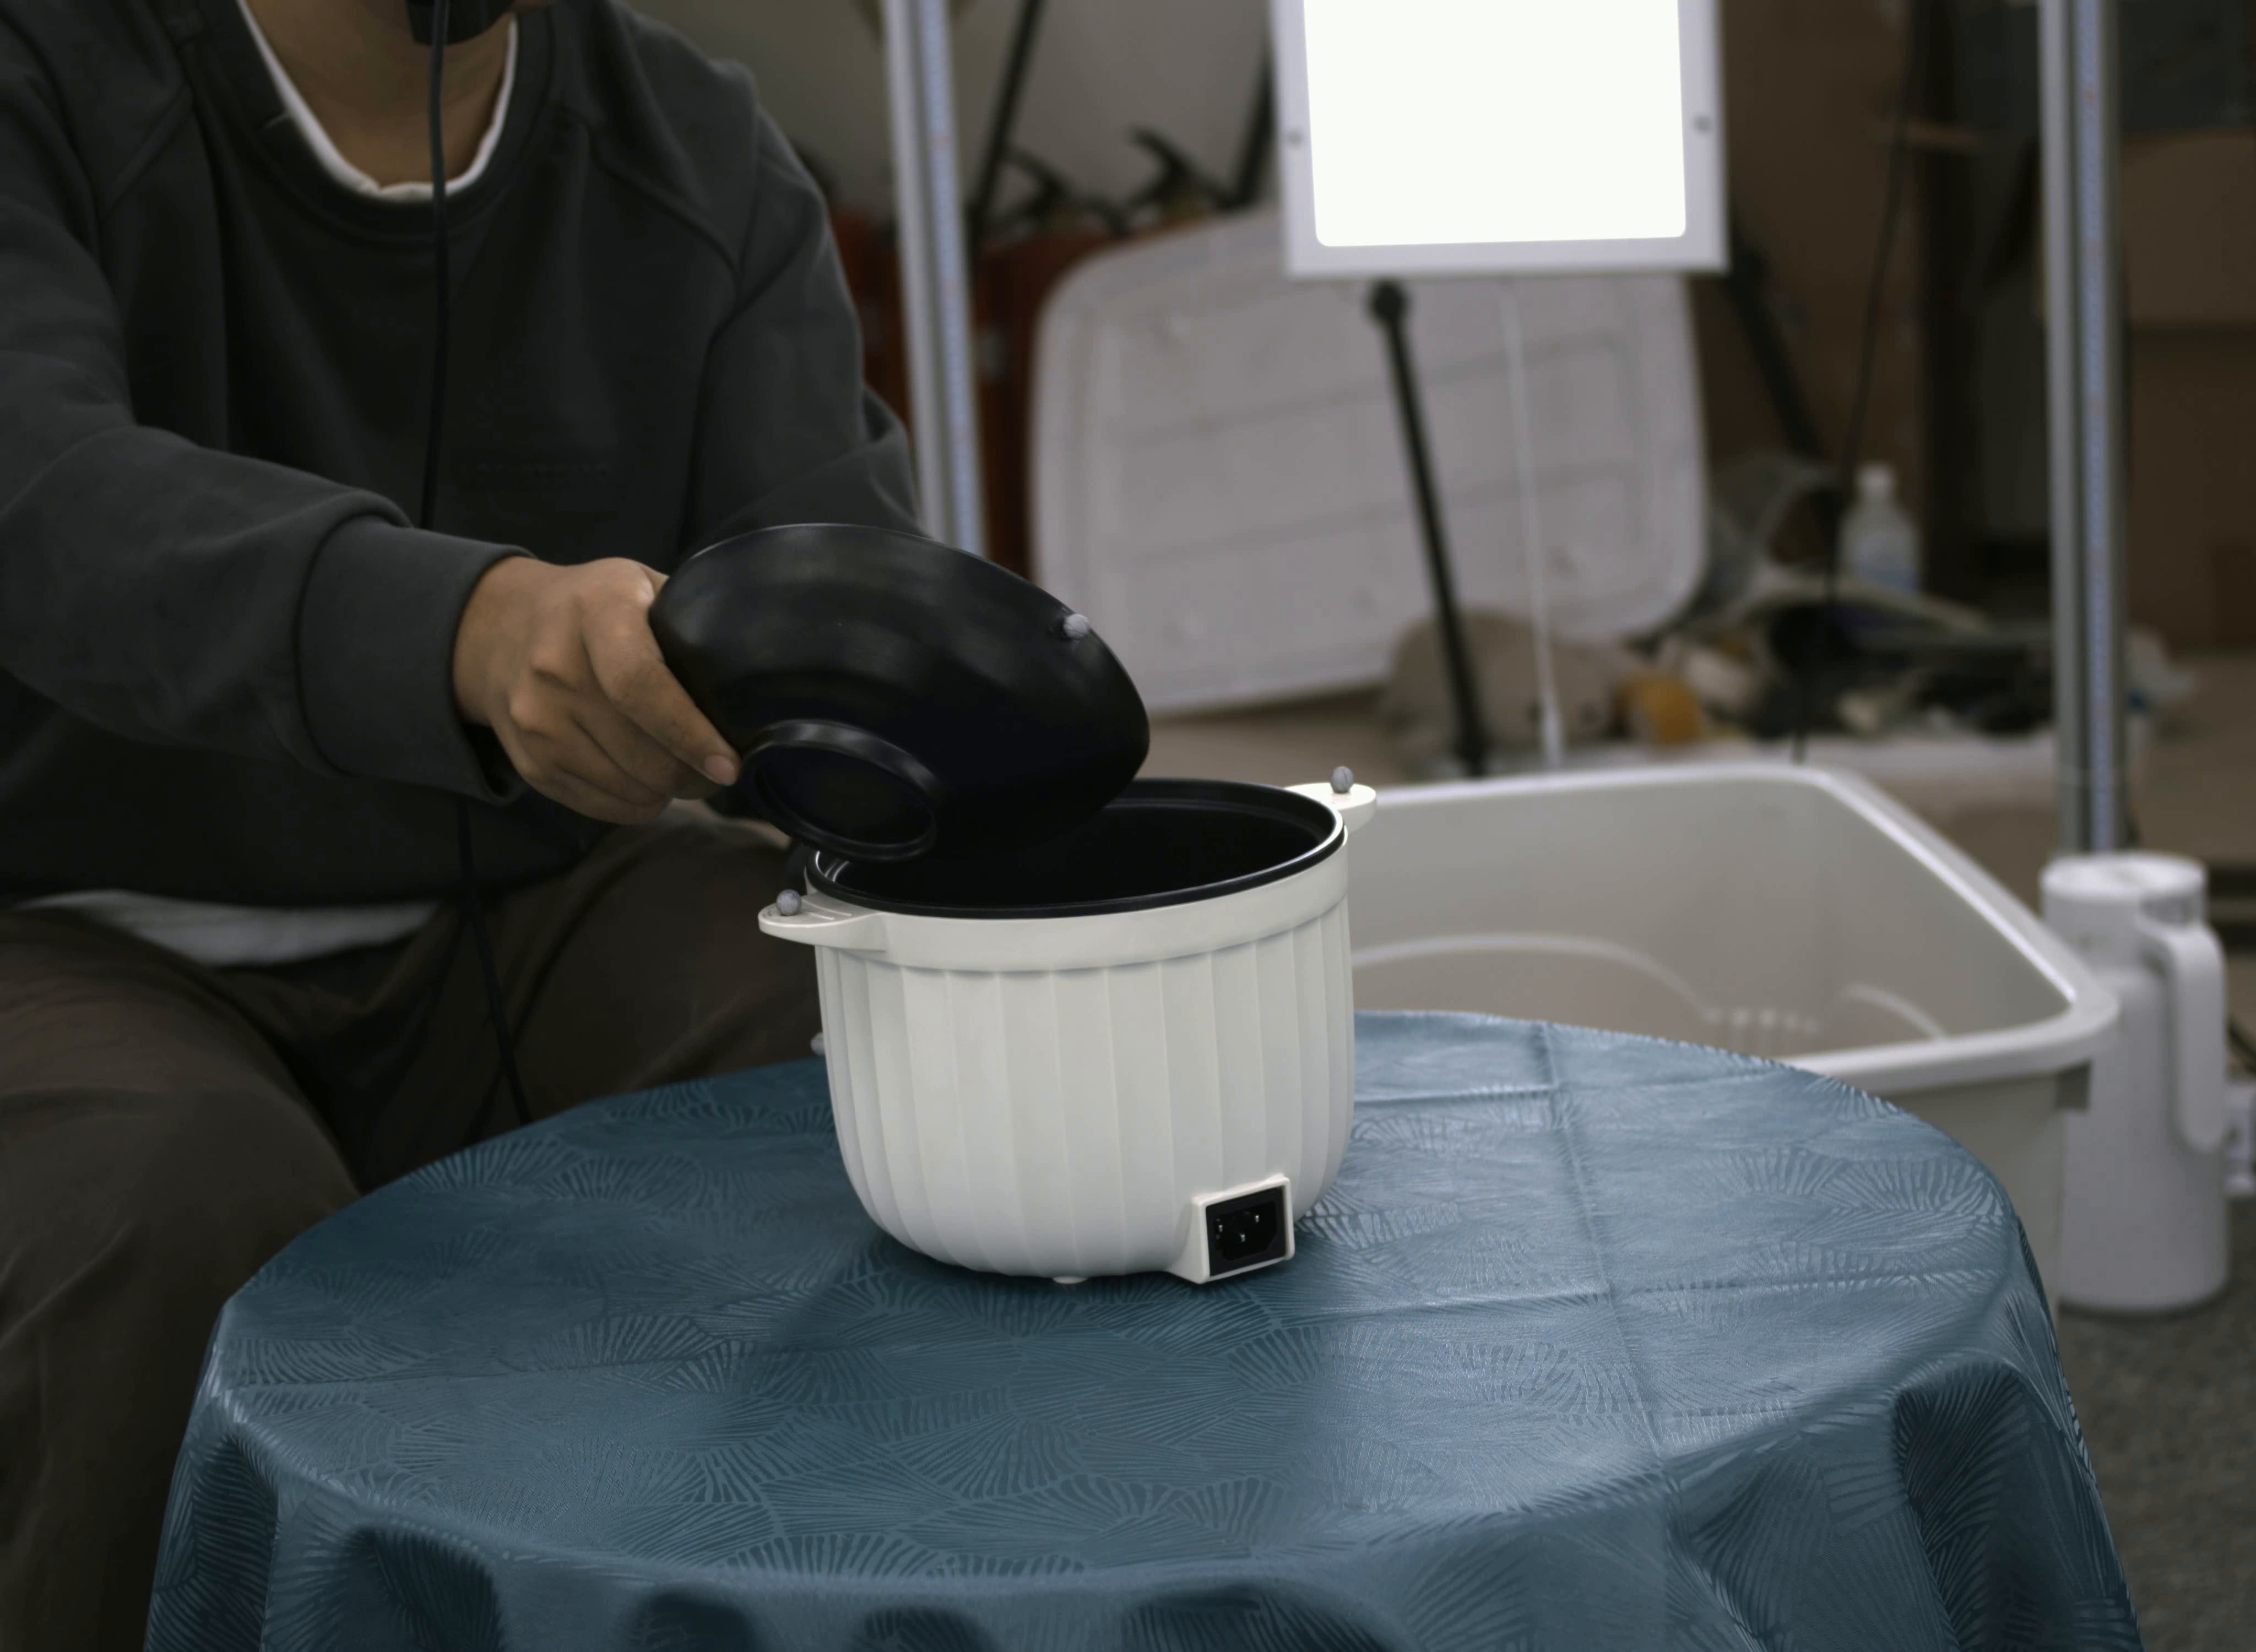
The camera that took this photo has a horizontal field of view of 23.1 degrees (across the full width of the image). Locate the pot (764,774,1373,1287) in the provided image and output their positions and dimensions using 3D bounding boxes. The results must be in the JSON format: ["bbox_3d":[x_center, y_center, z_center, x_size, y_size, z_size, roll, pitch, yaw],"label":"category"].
[{"bbox_3d":[-0.017,0.068,1.851,0.235,0.143,0.194,-12,18,-32],"label":"pot"}]

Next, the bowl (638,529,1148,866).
[{"bbox_3d":[-0.082,-0.032,1.777,0.171,0.138,0.066,15,60,7],"label":"bowl"}]
